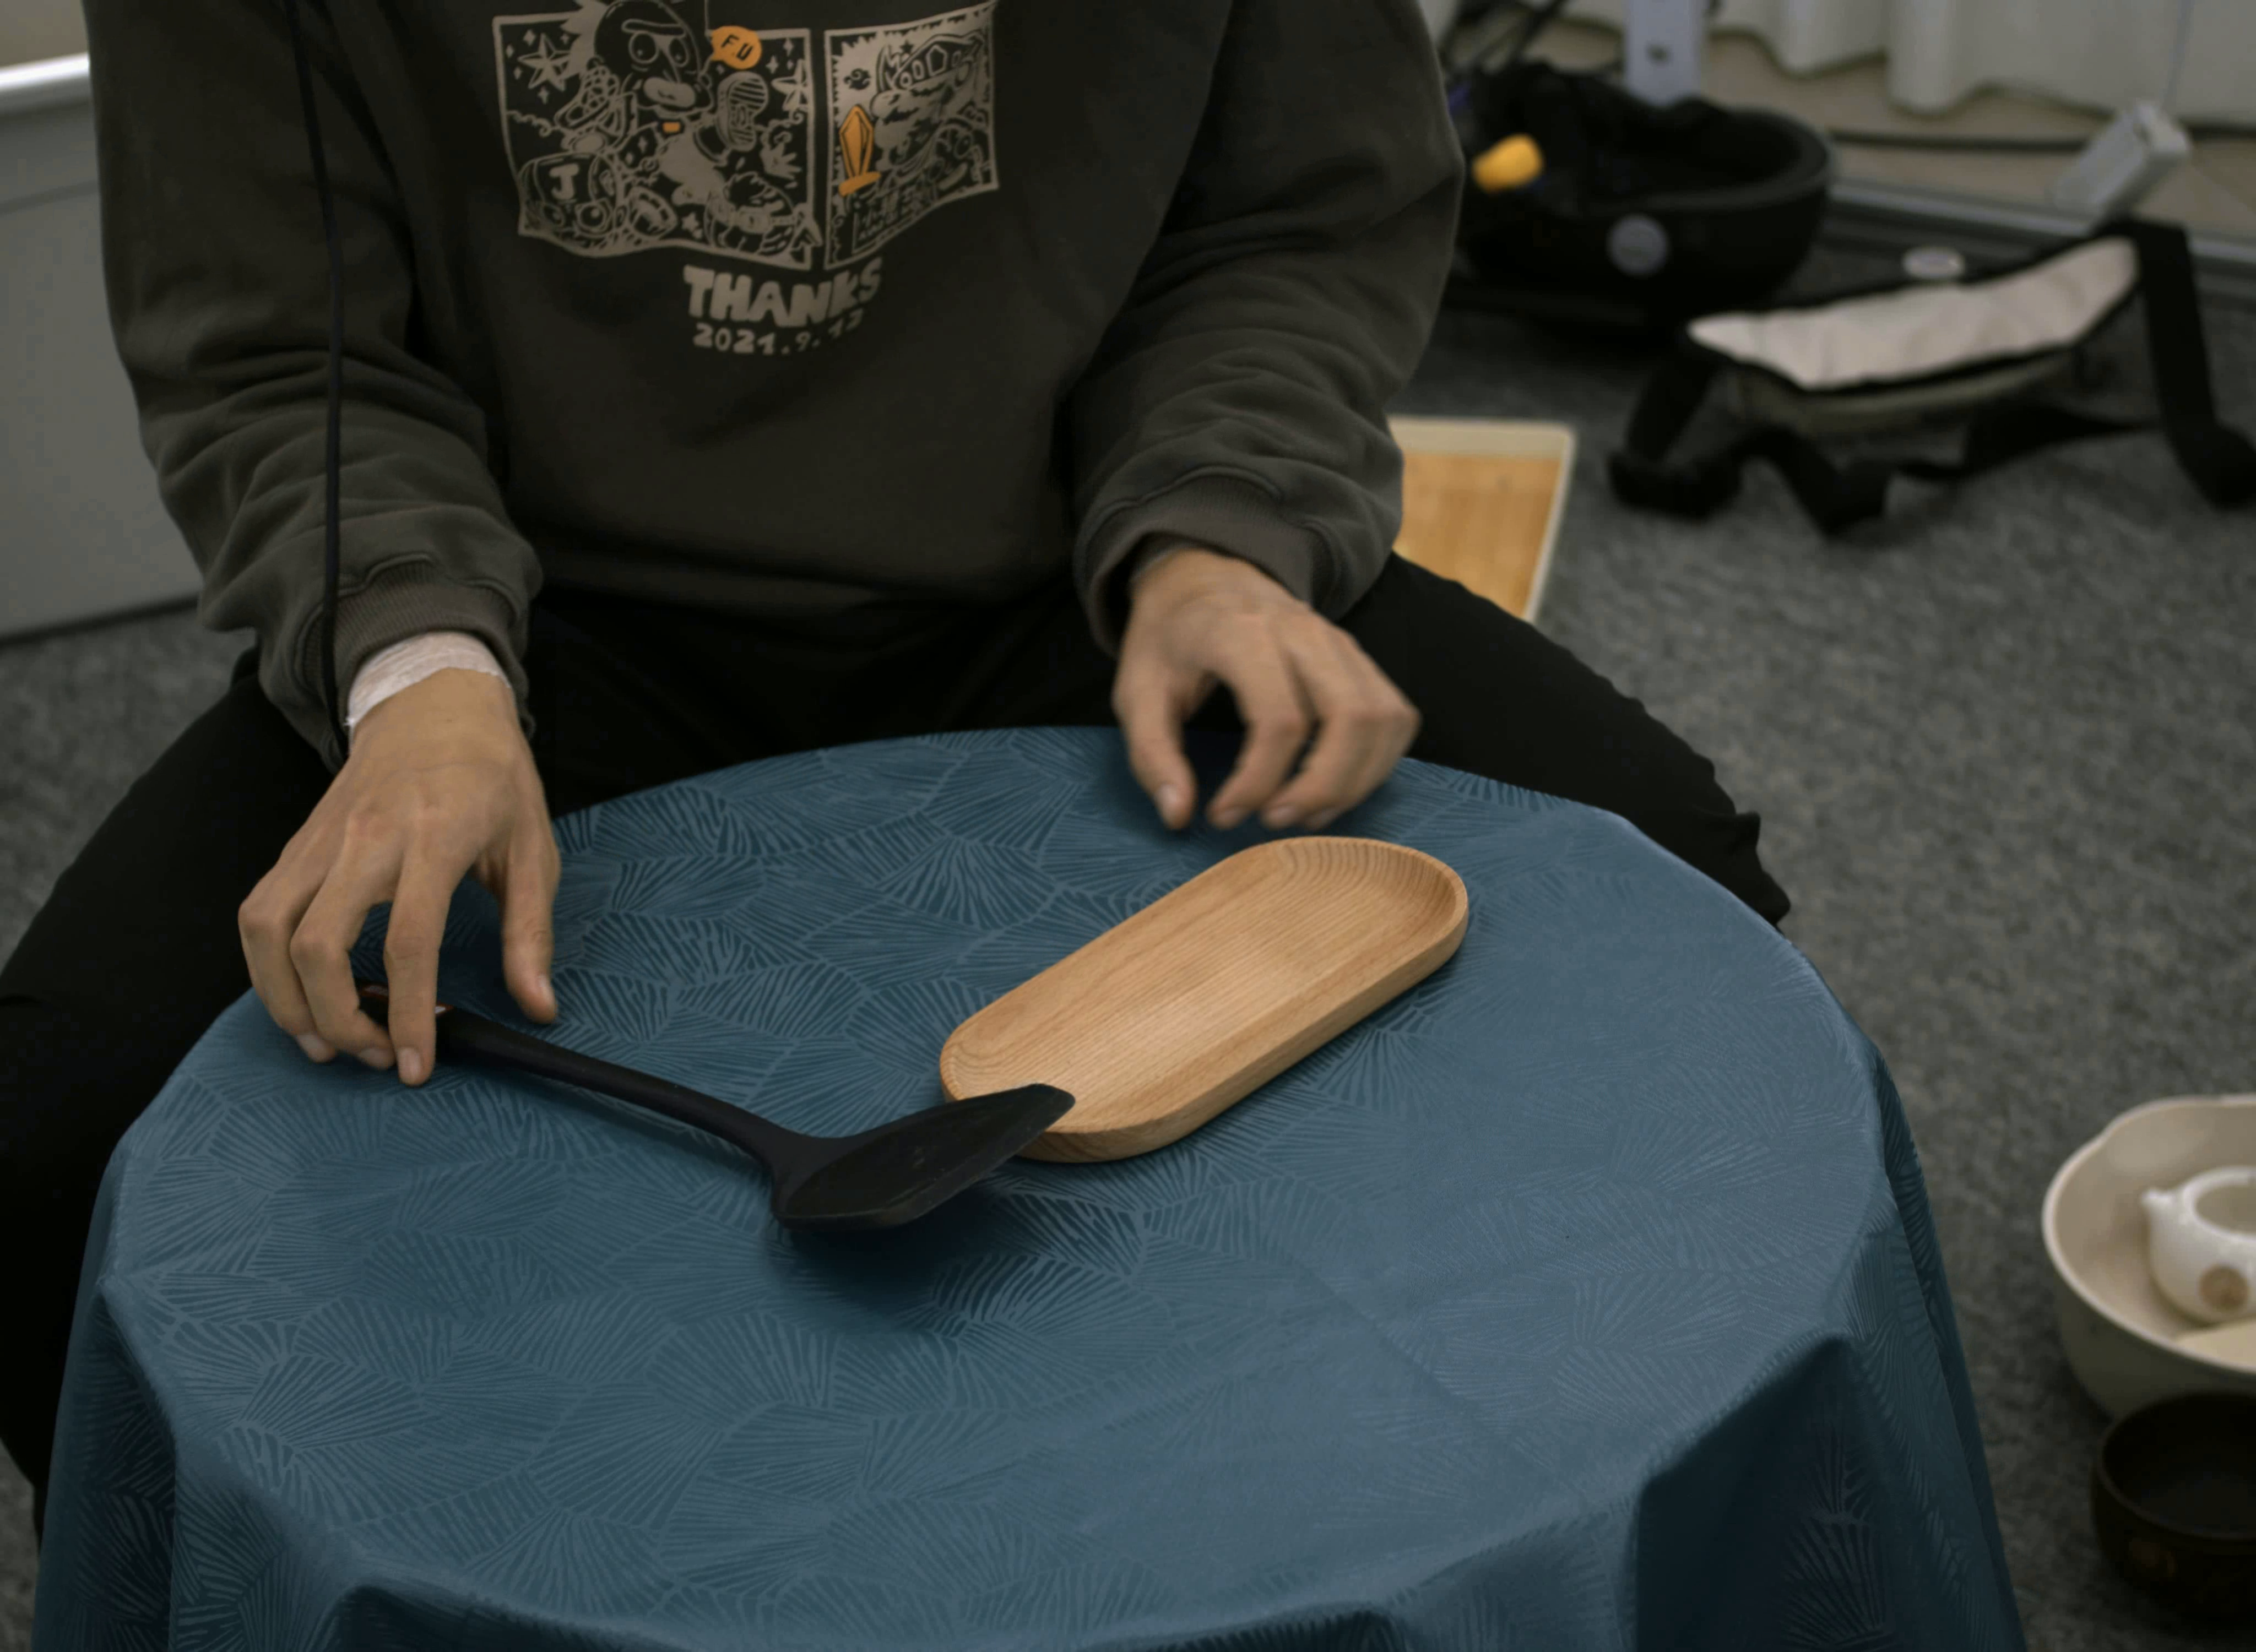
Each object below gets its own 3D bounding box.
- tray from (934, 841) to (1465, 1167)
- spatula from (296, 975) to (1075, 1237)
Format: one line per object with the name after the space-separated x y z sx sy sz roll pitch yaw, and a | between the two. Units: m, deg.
0.027 0.061 1.957 0.101 0.020 0.234 19 36 36 | tray
-0.167 0.085 1.908 0.325 0.040 0.101 18 33 34 | spatula
